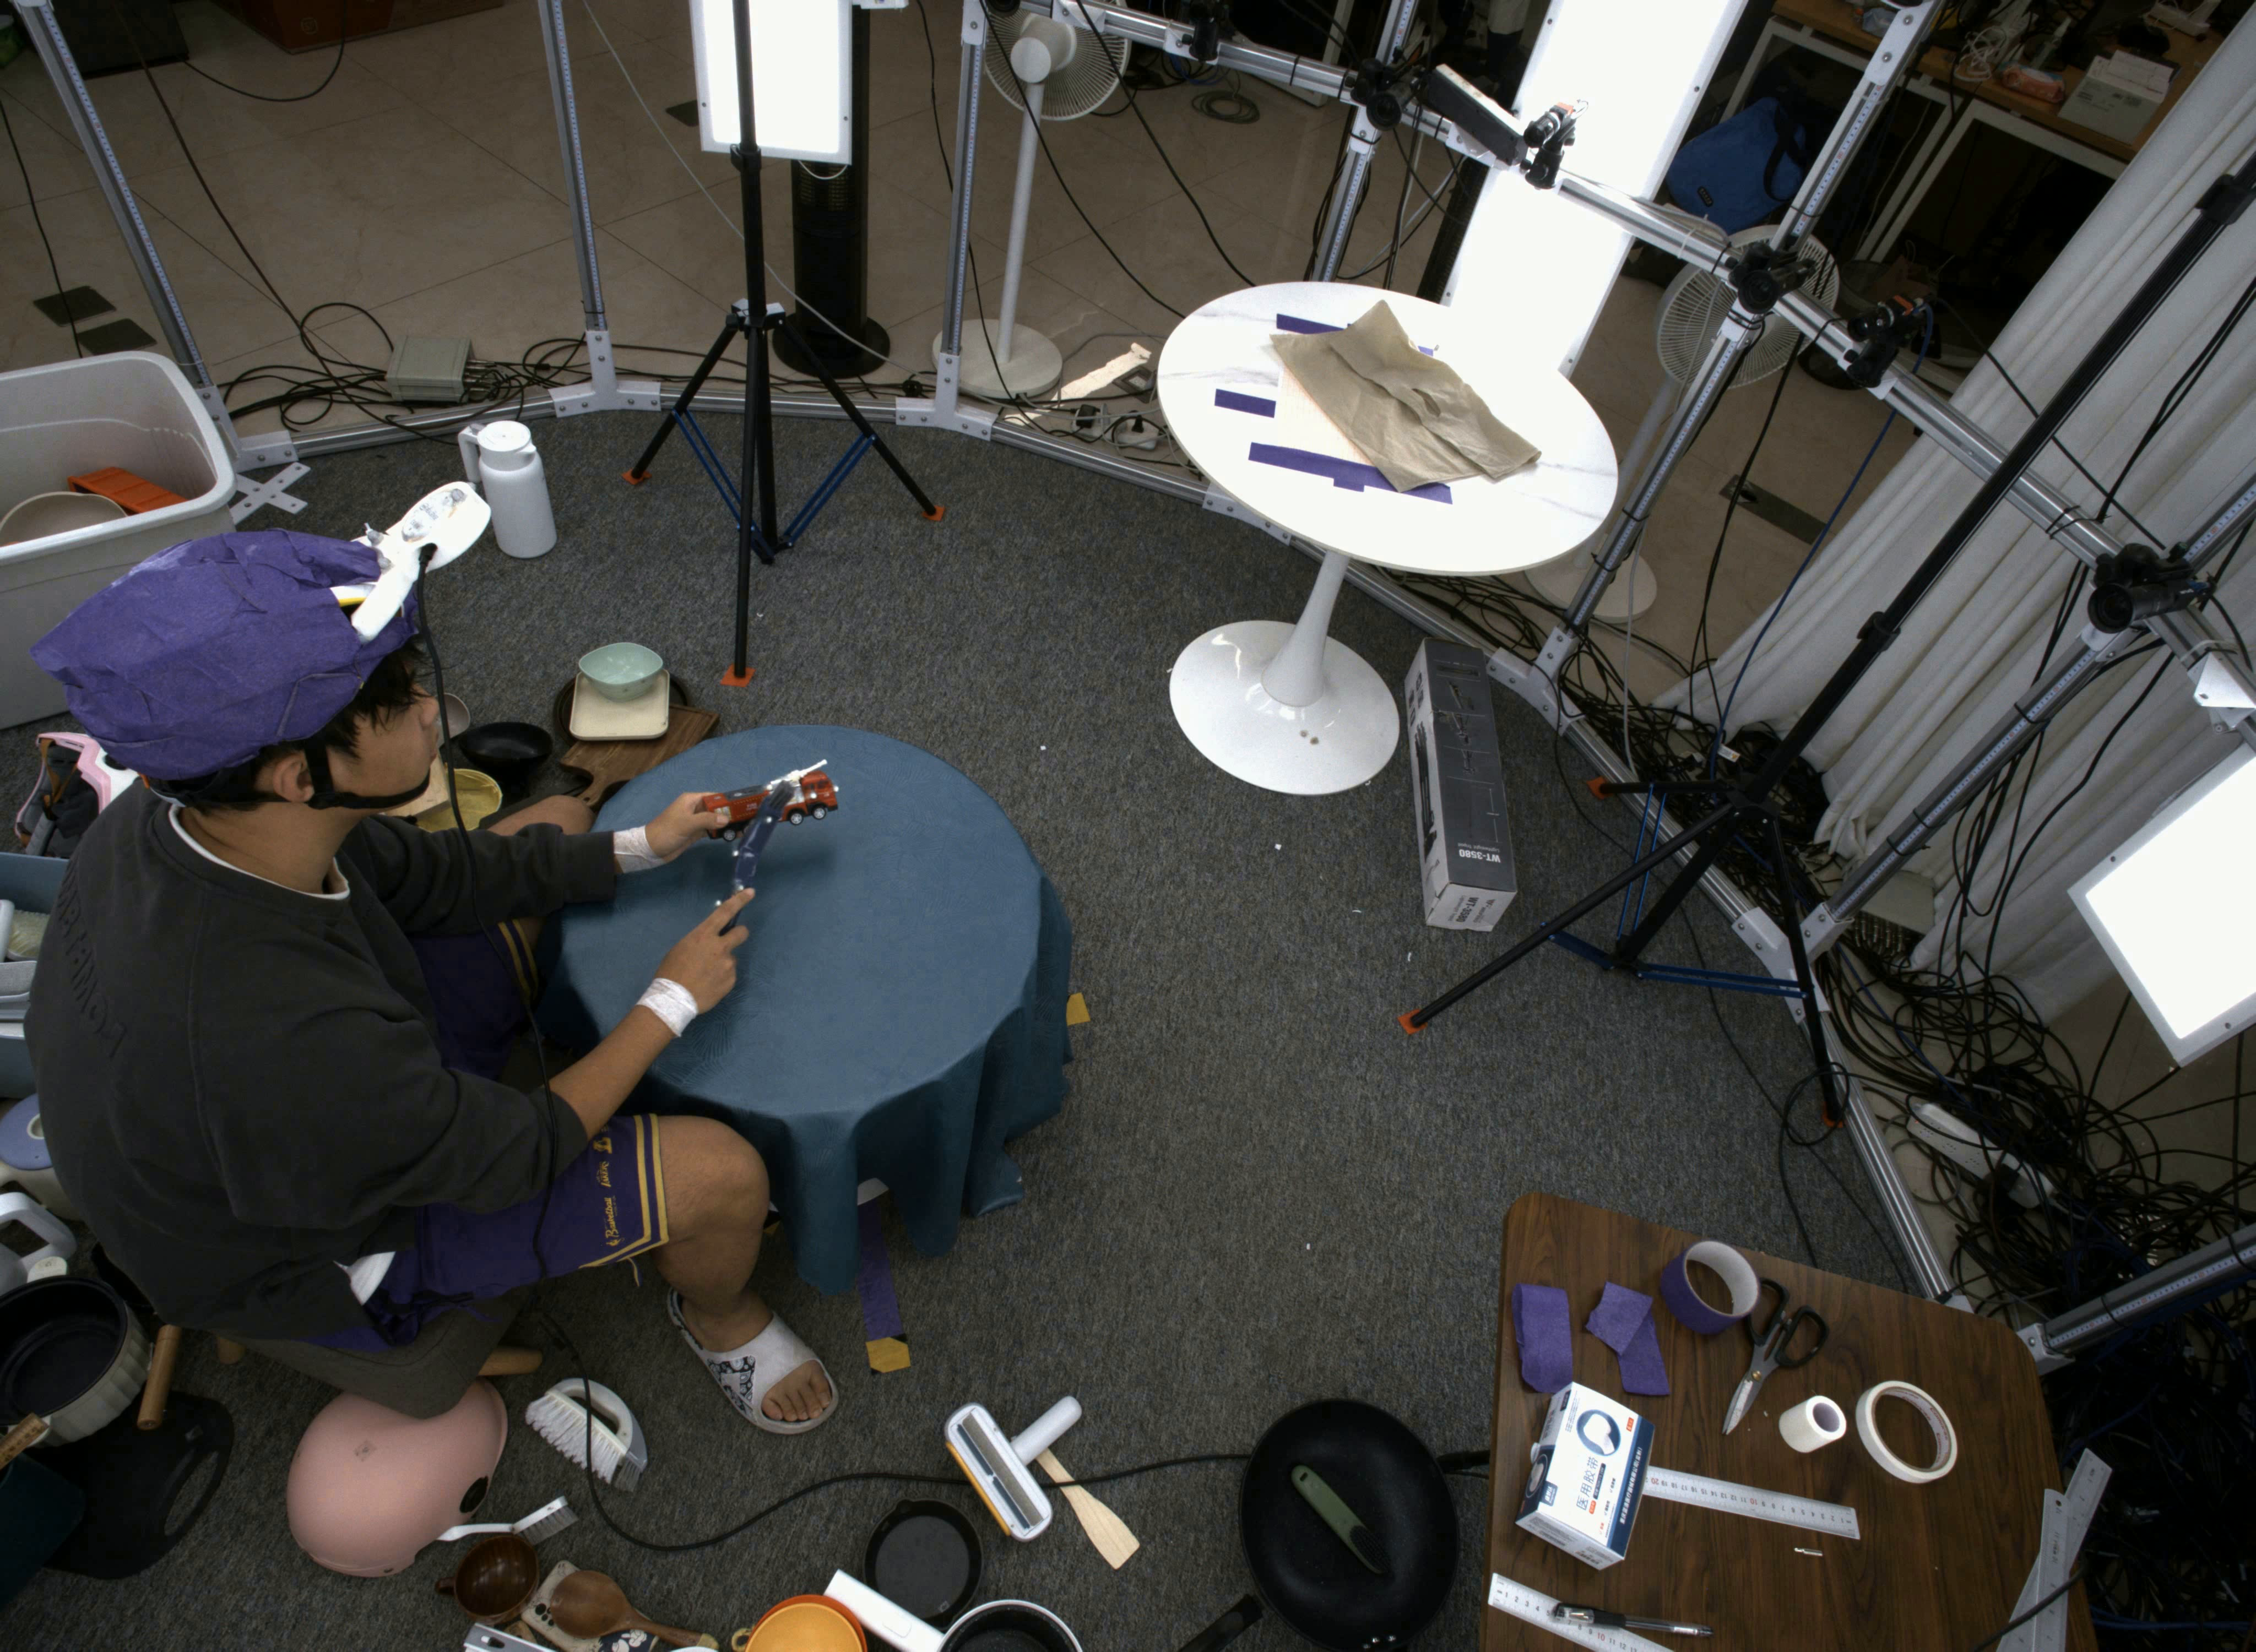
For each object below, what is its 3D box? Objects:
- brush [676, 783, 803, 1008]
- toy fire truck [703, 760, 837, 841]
[{"bbox_3d":[-0.460,0.078,1.526,0.034,0.093,0.272,31,64,-35],"label":"brush"},{"bbox_3d":[-0.453,-0.030,1.634,0.168,0.072,0.052,-17,23,-23],"label":"toy fire truck"}]
